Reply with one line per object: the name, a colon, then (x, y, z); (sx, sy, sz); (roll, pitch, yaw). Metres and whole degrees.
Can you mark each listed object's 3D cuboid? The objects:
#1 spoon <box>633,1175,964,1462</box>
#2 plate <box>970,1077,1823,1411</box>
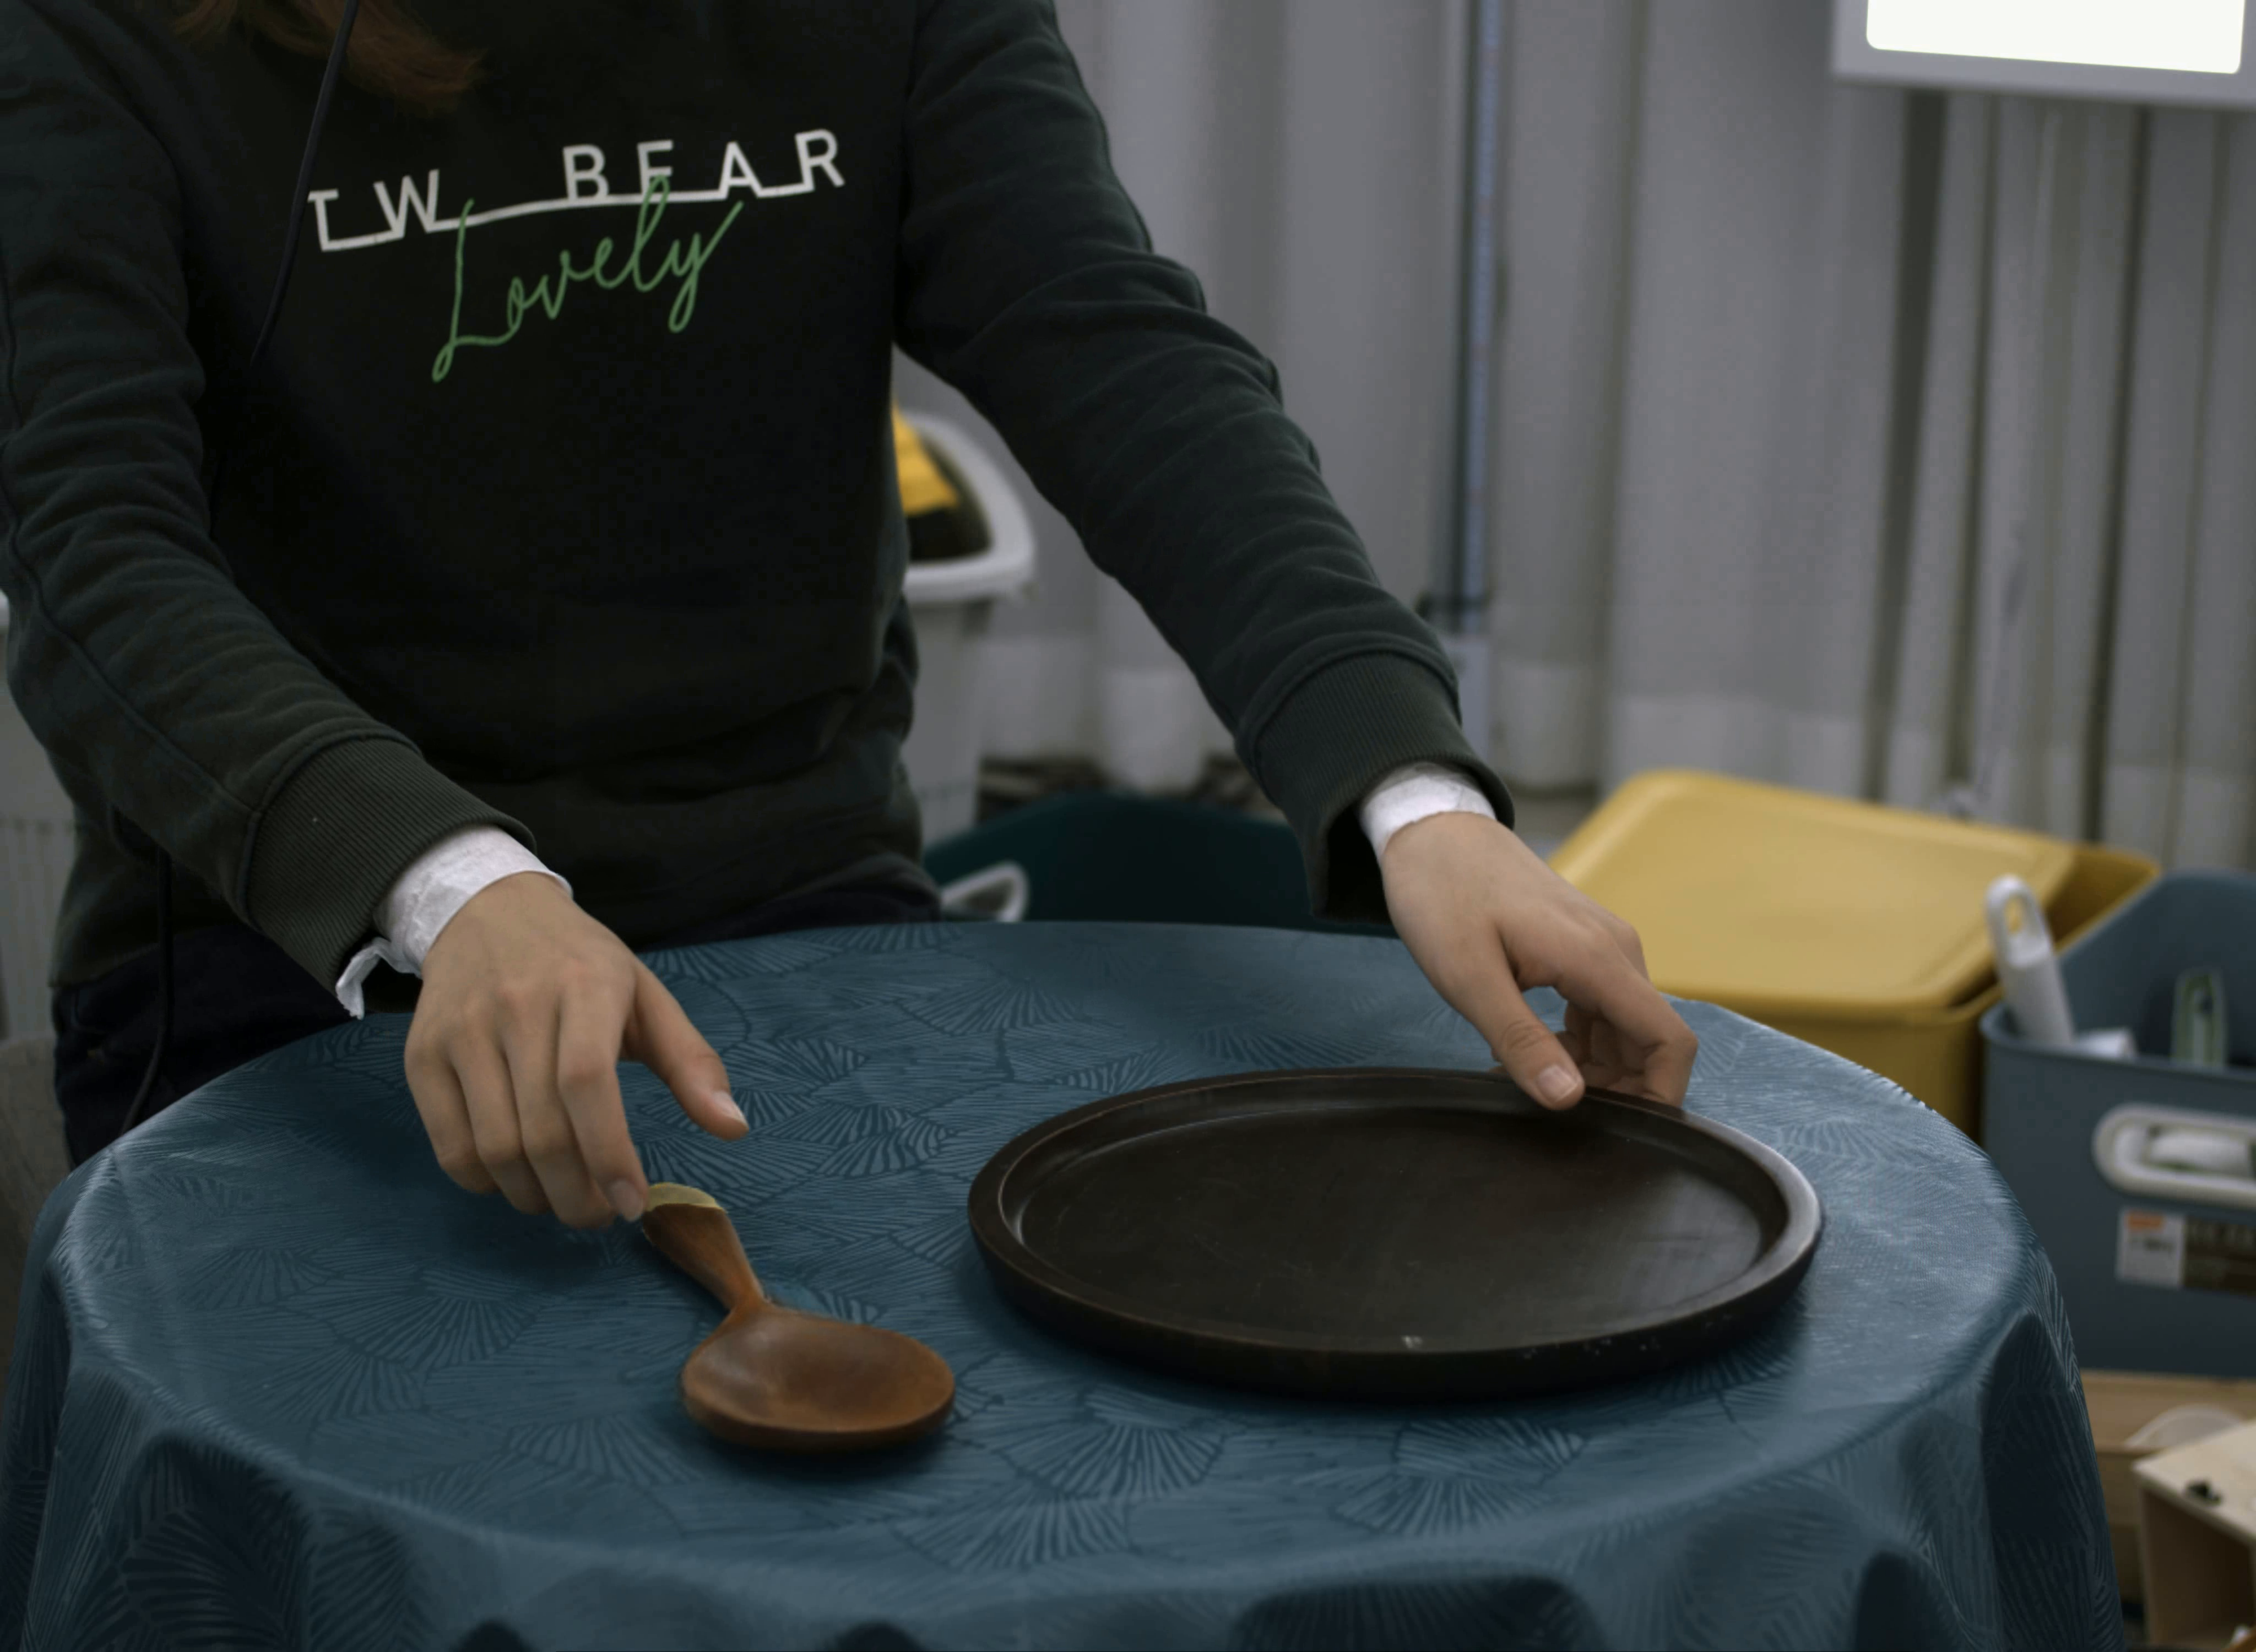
spoon: (-0.104, 0.140, 1.493); (0.075, 0.017, 0.213); (-5, 17, -19)
plate: (0.079, 0.120, 1.562); (0.254, 0.029, 0.253); (2, 17, 0)
